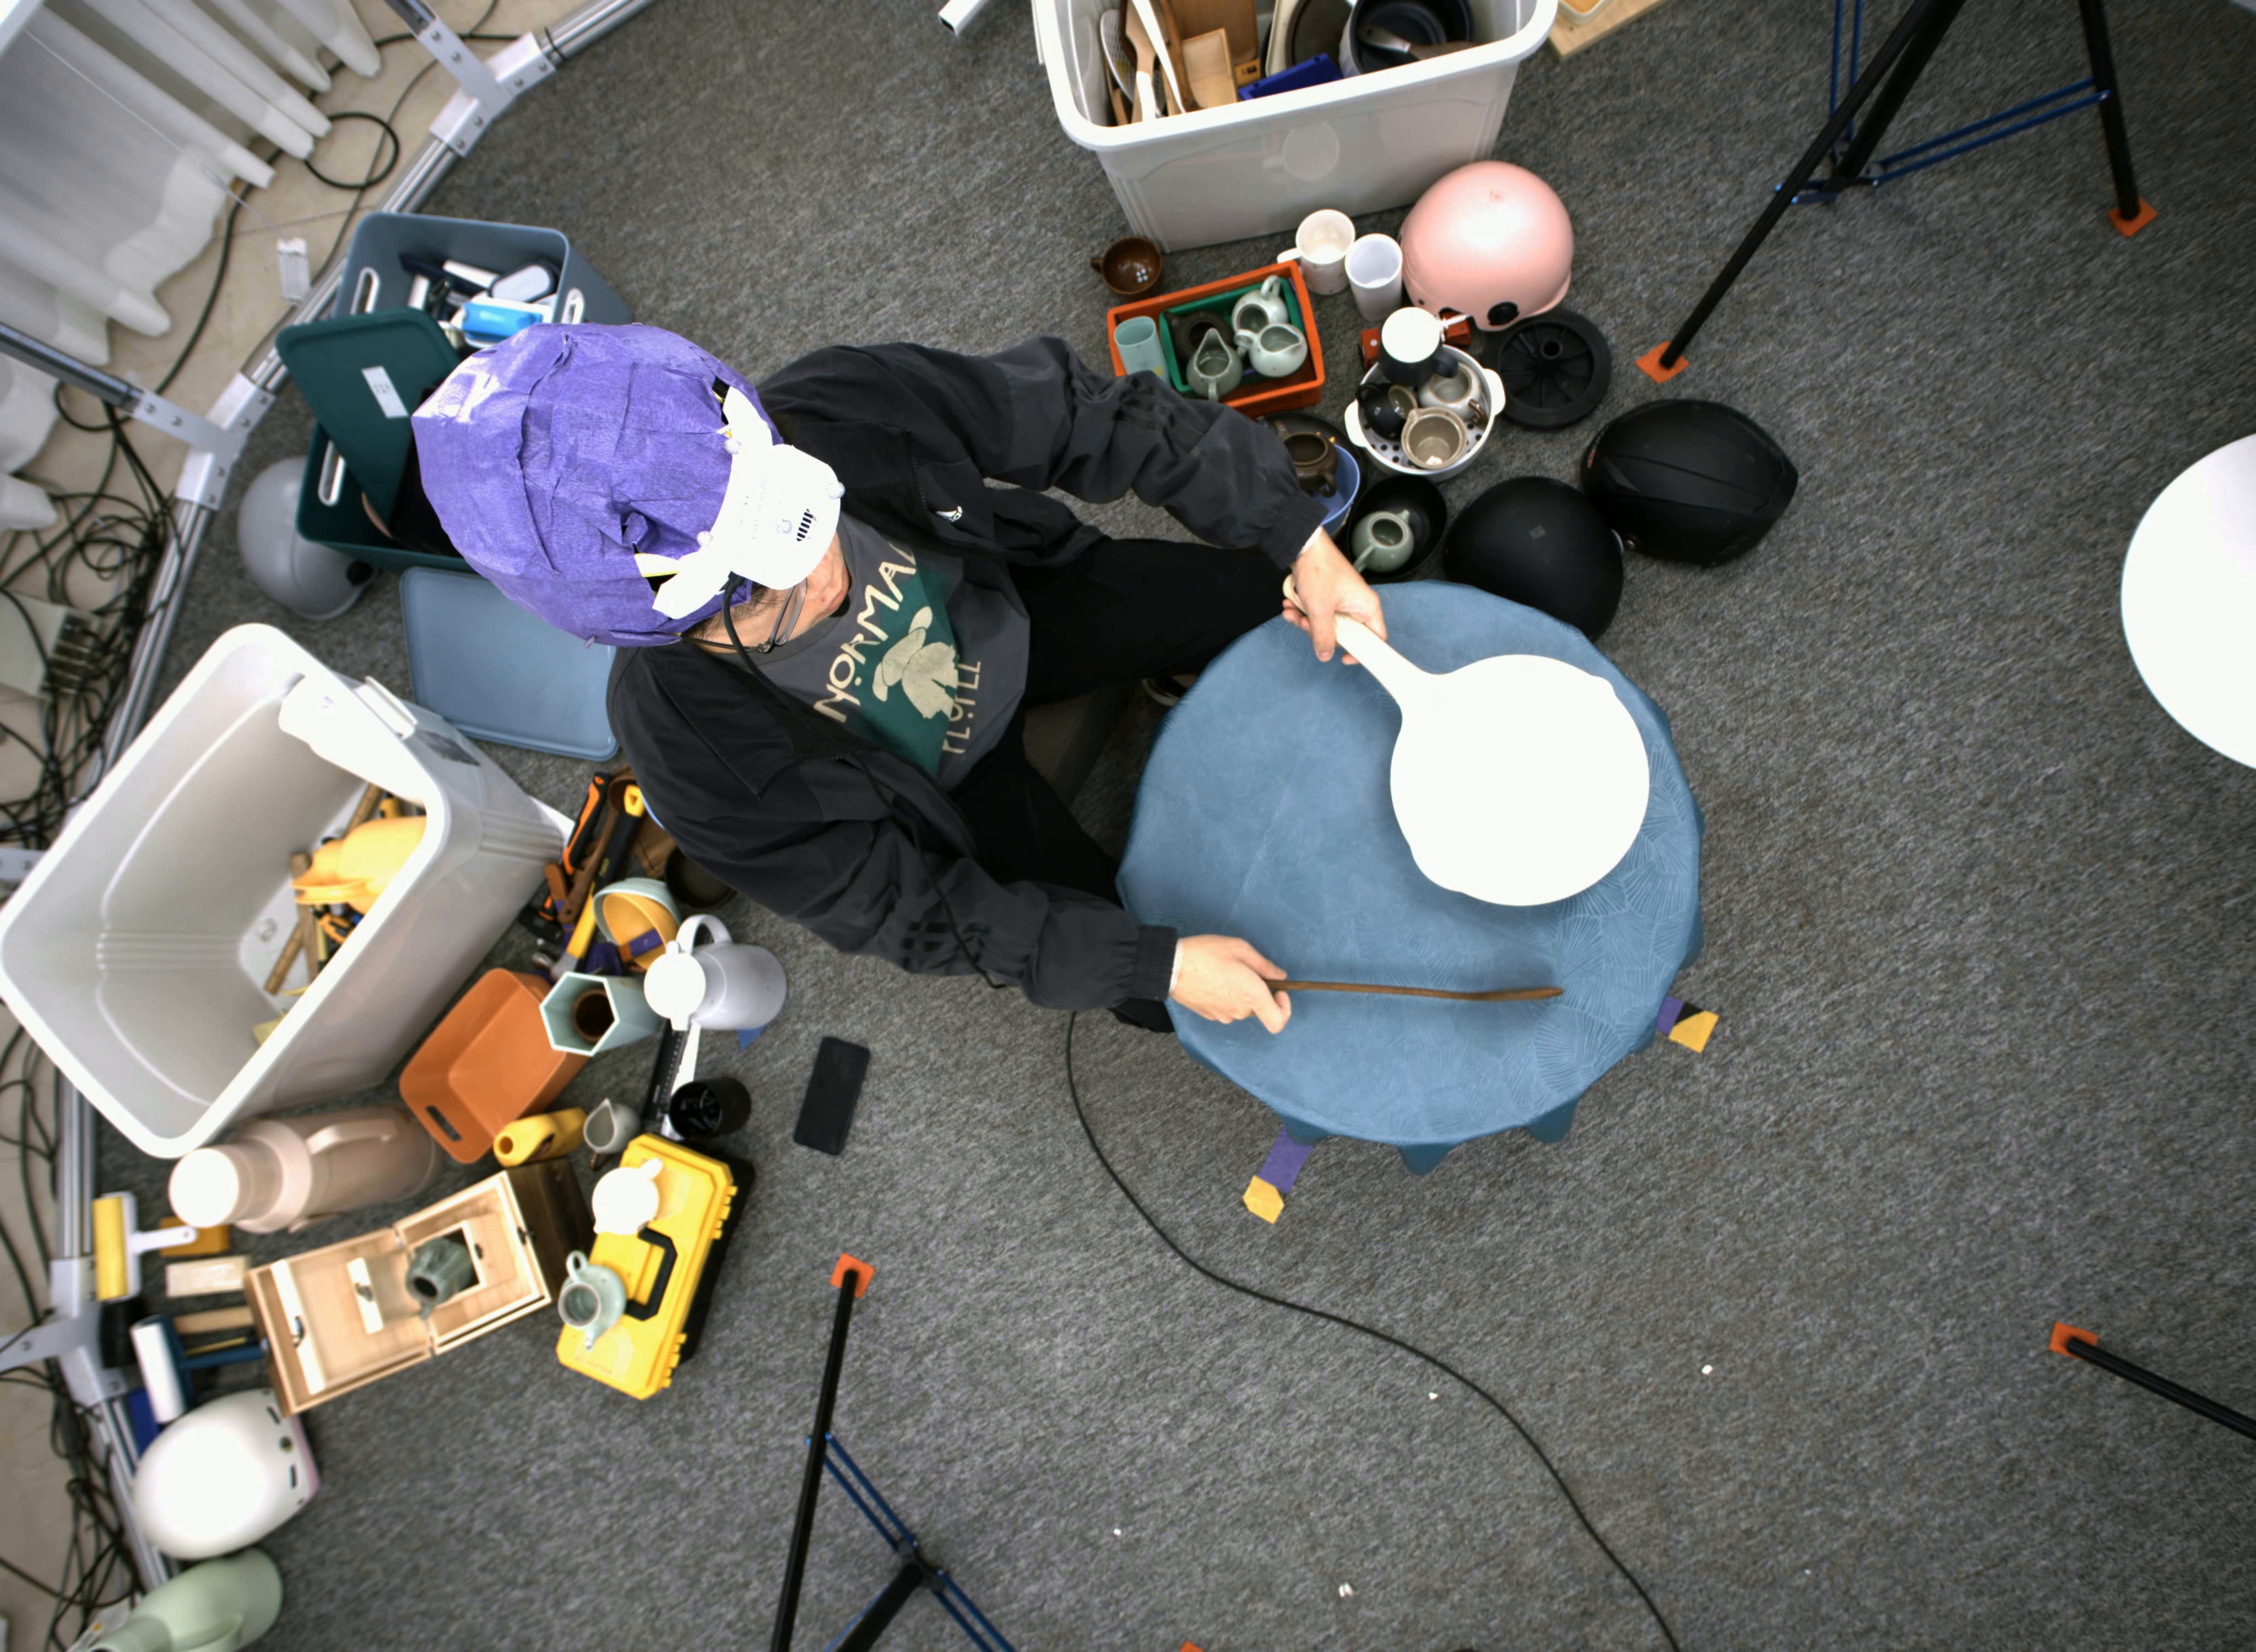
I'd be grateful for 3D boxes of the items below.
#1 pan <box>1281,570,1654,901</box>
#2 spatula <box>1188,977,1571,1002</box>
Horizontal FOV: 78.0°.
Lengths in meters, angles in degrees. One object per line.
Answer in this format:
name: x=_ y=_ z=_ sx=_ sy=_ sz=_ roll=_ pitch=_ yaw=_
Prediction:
pan: x=0.329 y=-0.112 z=1.405 sx=0.433 sy=0.102 sz=0.265 roll=43 pitch=96 yaw=9
spatula: x=0.252 y=0.166 z=1.411 sx=0.387 sy=0.096 sz=0.015 roll=1 pitch=81 yaw=12
